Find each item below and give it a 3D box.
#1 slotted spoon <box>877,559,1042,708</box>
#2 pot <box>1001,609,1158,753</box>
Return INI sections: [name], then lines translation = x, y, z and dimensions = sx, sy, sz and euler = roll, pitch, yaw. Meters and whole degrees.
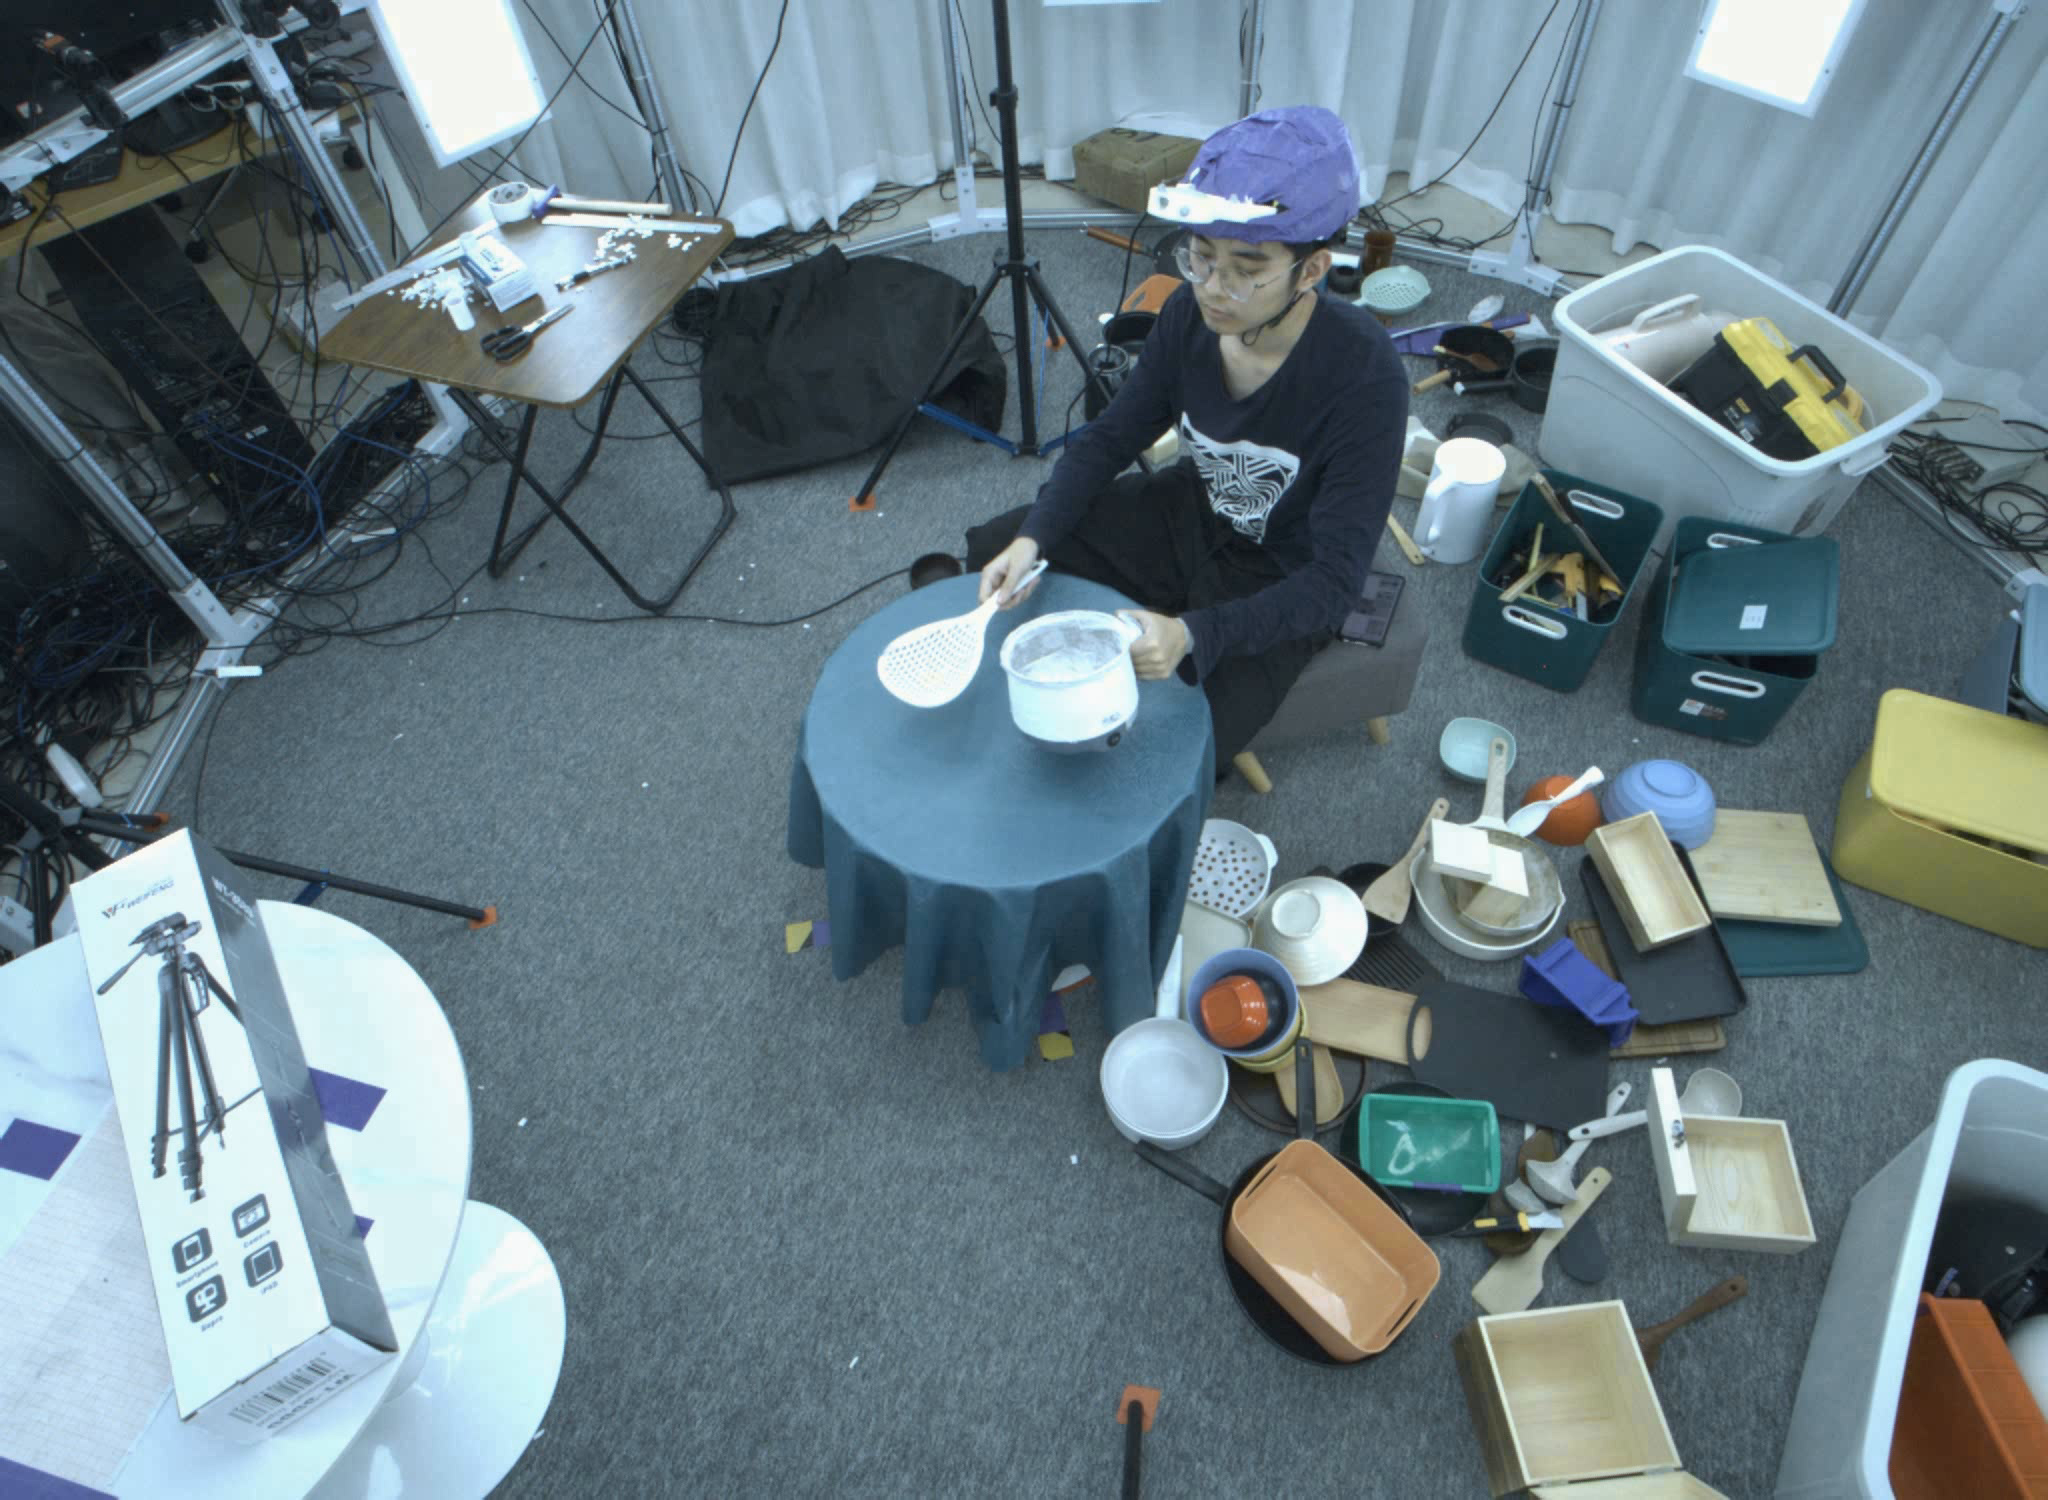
[slotted spoon]
translation = -0.075, -0.183, 1.819
dimensions = 0.135, 0.051, 0.349
euler = 33, 64, 17
[pot]
translation = 0.087, -0.105, 1.709
dimensions = 0.236, 0.138, 0.174
euler = -31, 45, -24
